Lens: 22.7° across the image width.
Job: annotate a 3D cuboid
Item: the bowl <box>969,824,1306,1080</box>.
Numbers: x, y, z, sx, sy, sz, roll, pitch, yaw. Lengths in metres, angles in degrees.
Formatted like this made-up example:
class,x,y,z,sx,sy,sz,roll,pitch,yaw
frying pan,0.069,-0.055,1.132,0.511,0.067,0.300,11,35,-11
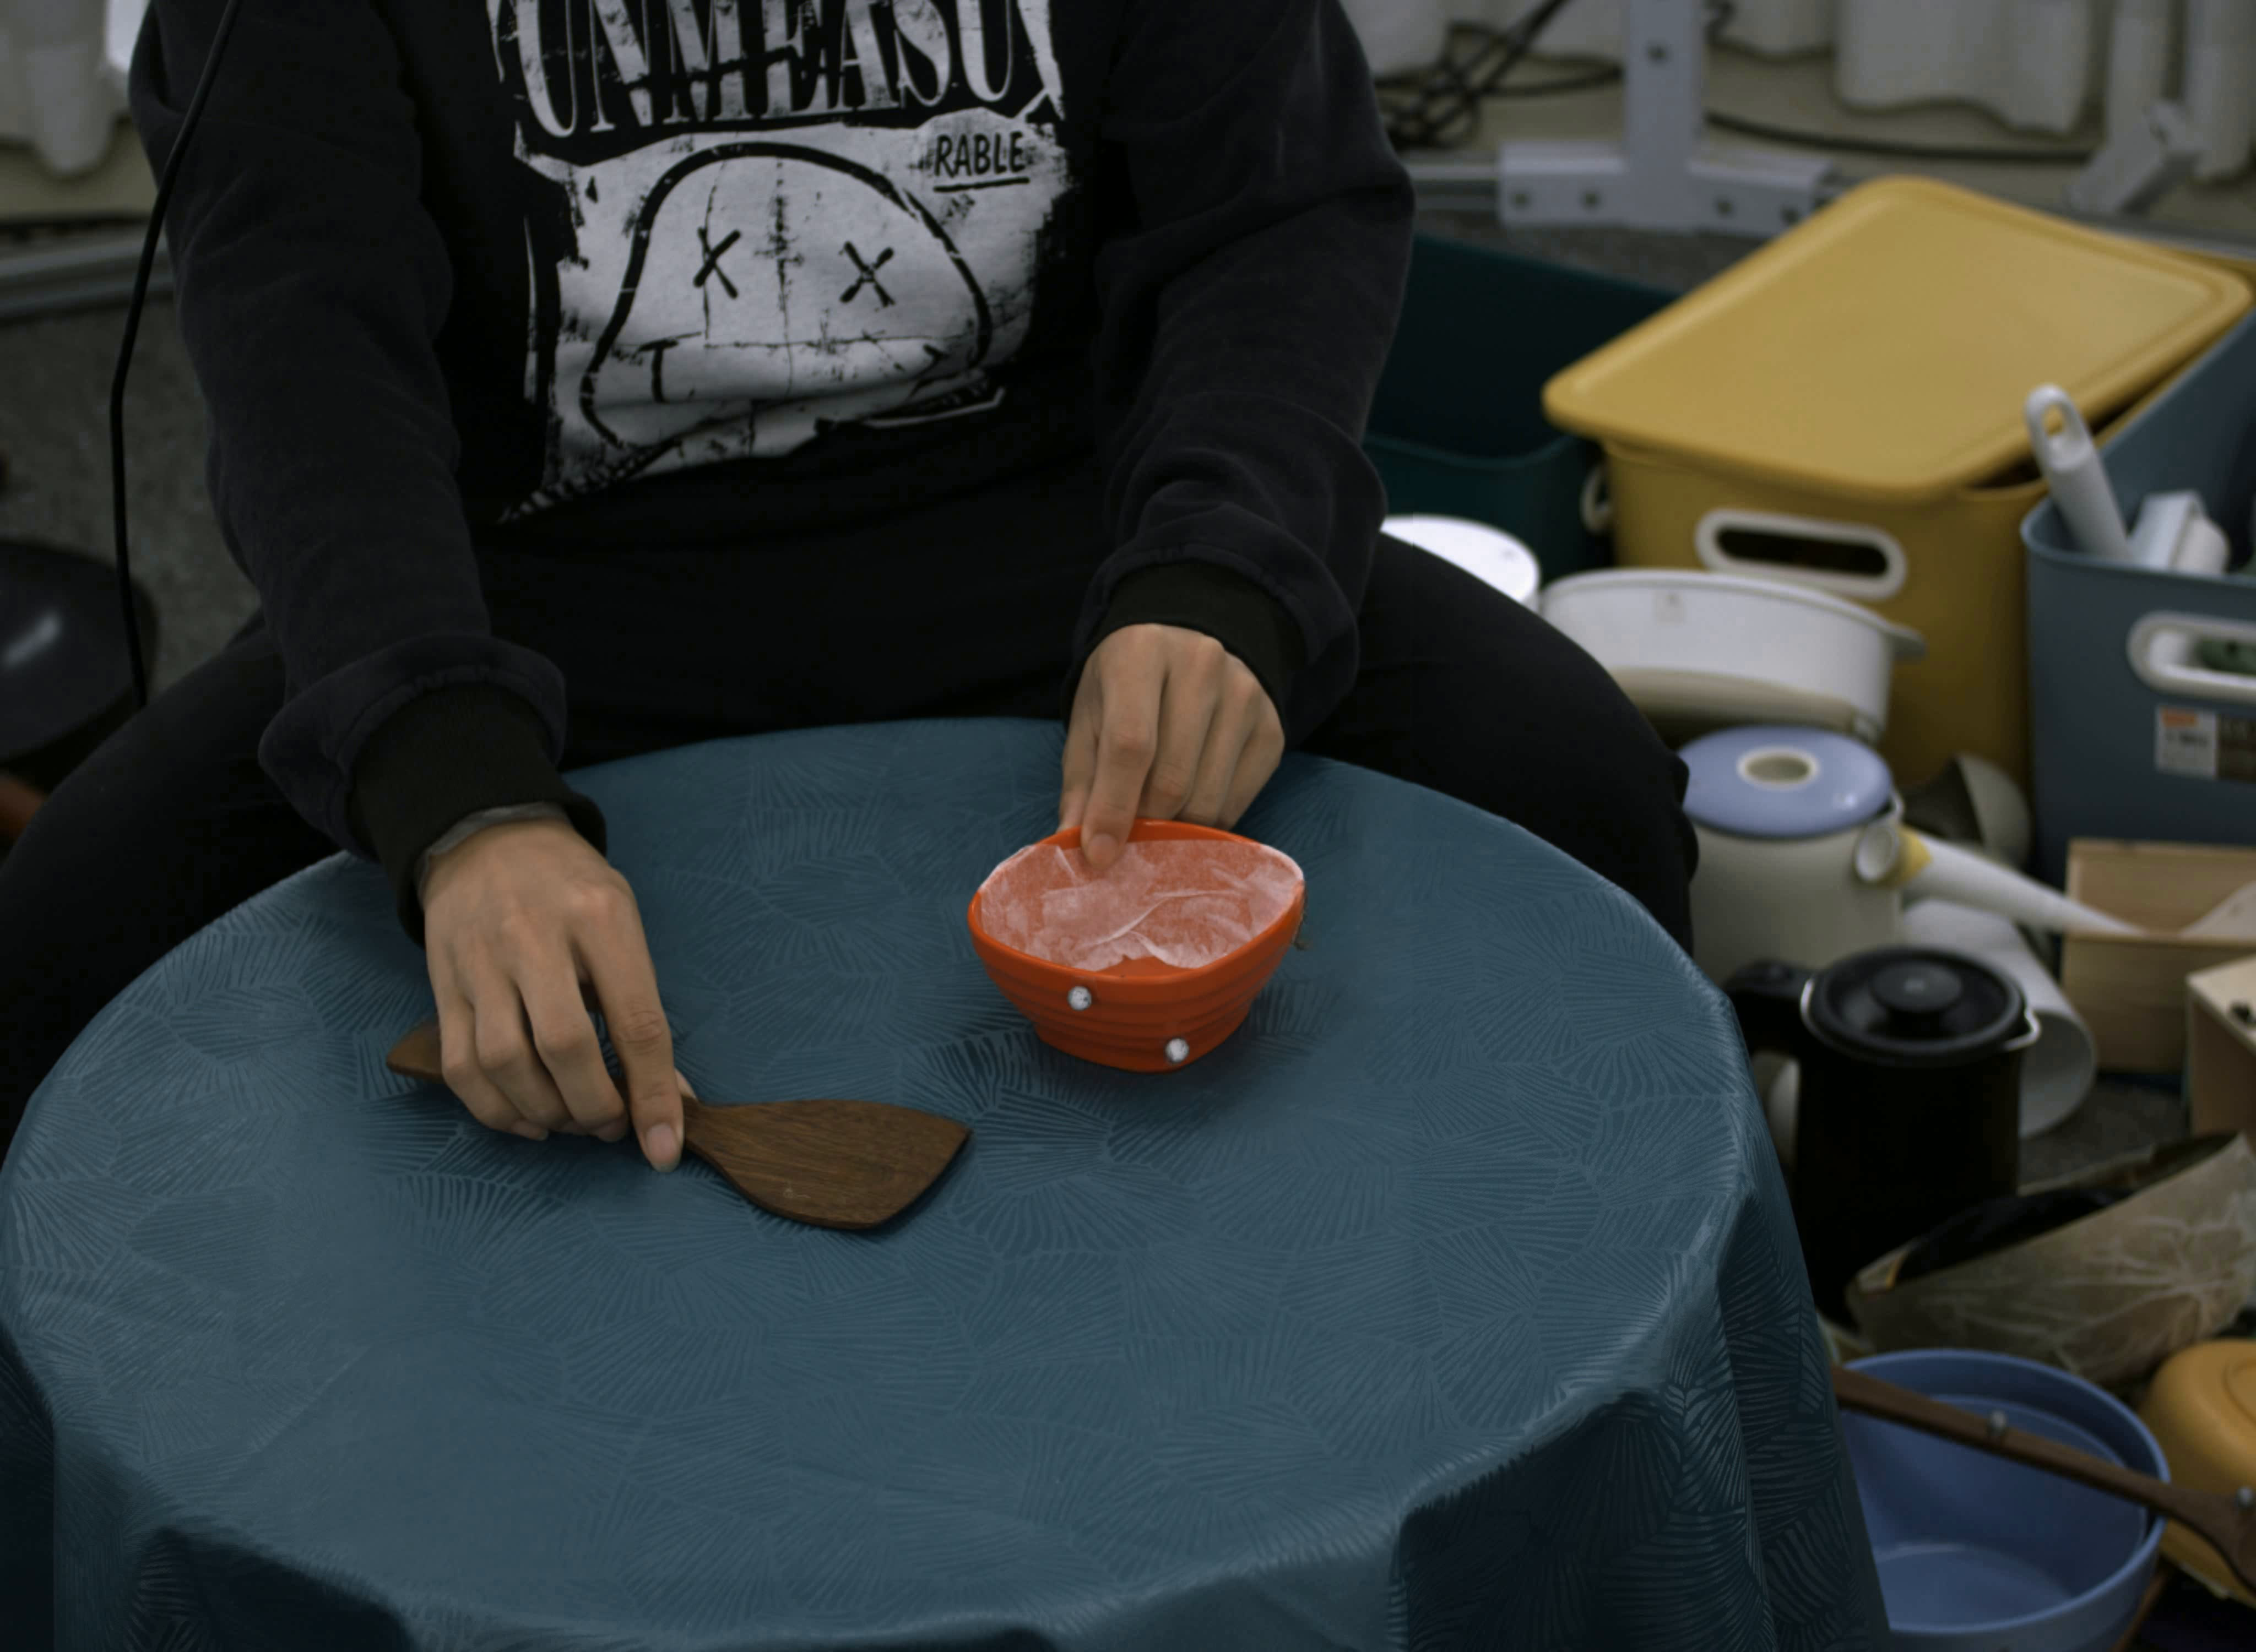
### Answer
class,x,y,z,sx,sy,sz,roll,pitch,yaw
bowl,0.005,0.048,1.954,0.118,0.051,0.121,-4,28,2

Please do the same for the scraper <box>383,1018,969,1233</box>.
class,x,y,z,sx,sy,sz,roll,pitch,yaw
scraper,-0.158,0.097,1.903,0.210,0.010,0.077,14,31,20
